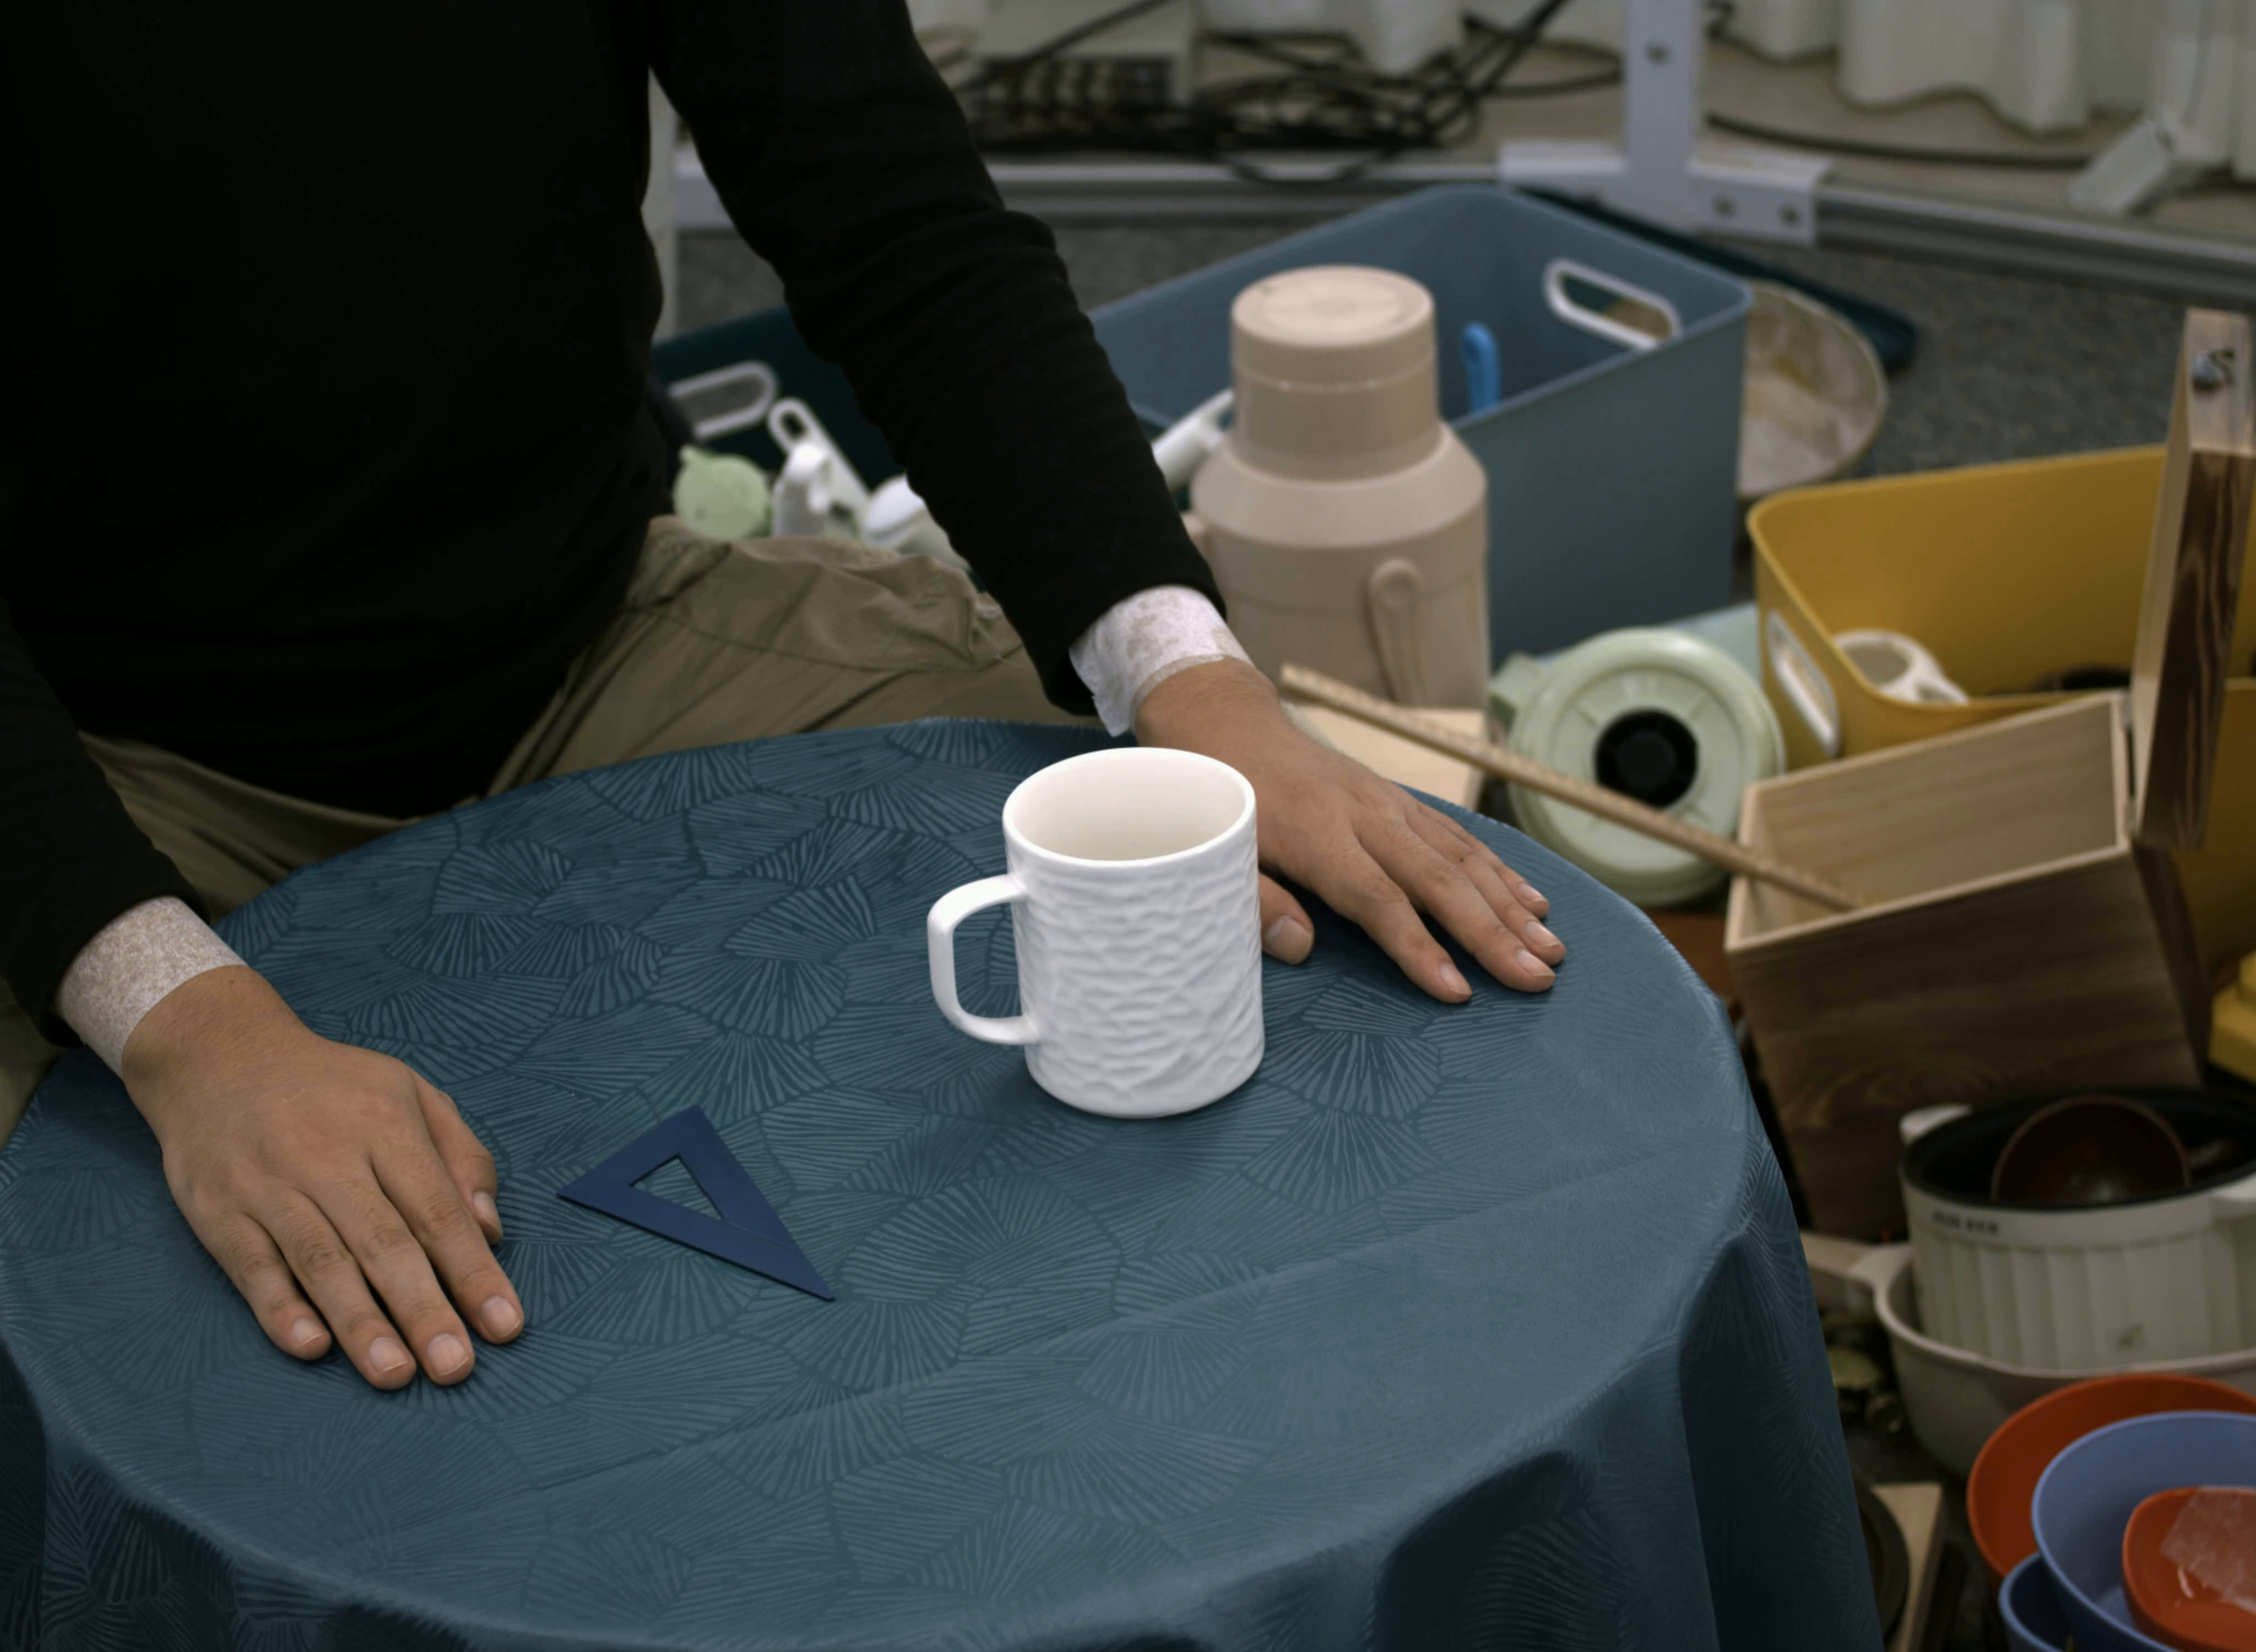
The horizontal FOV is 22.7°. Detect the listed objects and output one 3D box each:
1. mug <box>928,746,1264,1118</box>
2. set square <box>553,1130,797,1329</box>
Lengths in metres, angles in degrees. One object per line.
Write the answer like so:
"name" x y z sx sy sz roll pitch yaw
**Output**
"mug" -0.011 0.041 1.909 0.119 0.101 0.085 -14 29 -21
"set square" -0.151 0.135 1.845 0.061 0.006 0.133 -9 28 -16
